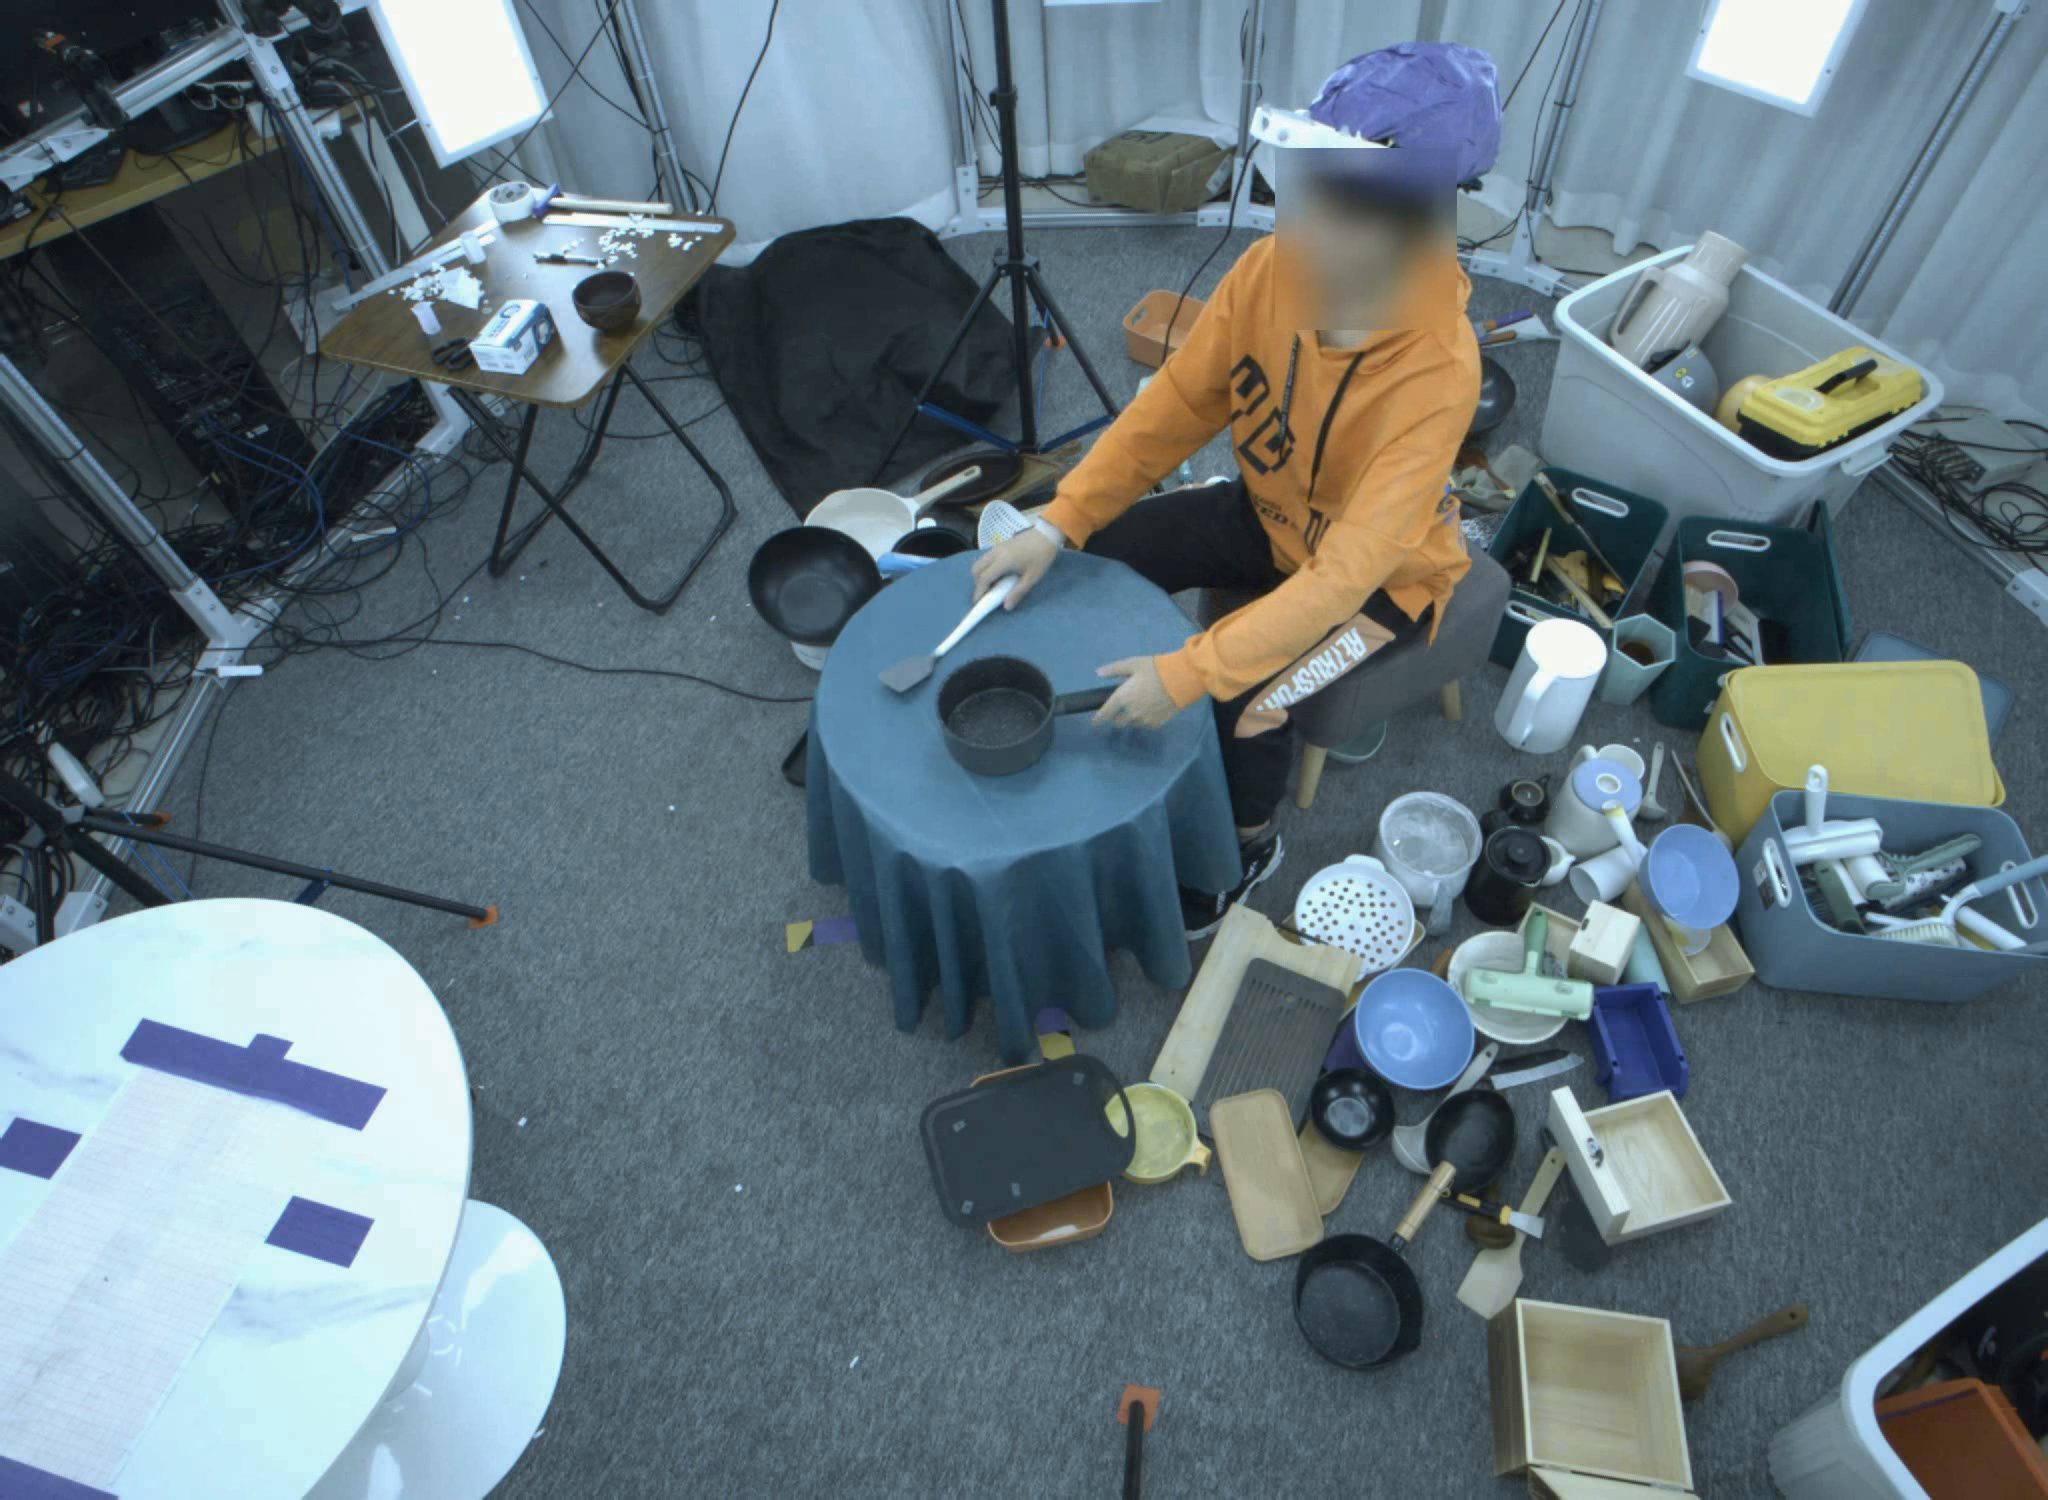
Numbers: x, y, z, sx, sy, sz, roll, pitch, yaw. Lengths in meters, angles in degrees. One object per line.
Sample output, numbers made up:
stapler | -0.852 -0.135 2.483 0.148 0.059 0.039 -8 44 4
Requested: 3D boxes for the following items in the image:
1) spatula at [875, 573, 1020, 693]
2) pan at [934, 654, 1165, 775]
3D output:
spatula | -0.112 -0.180 1.899 0.058 0.032 0.289 36 63 20
pan | 0.039 -0.055 1.772 0.328 0.087 0.170 -2 55 3
